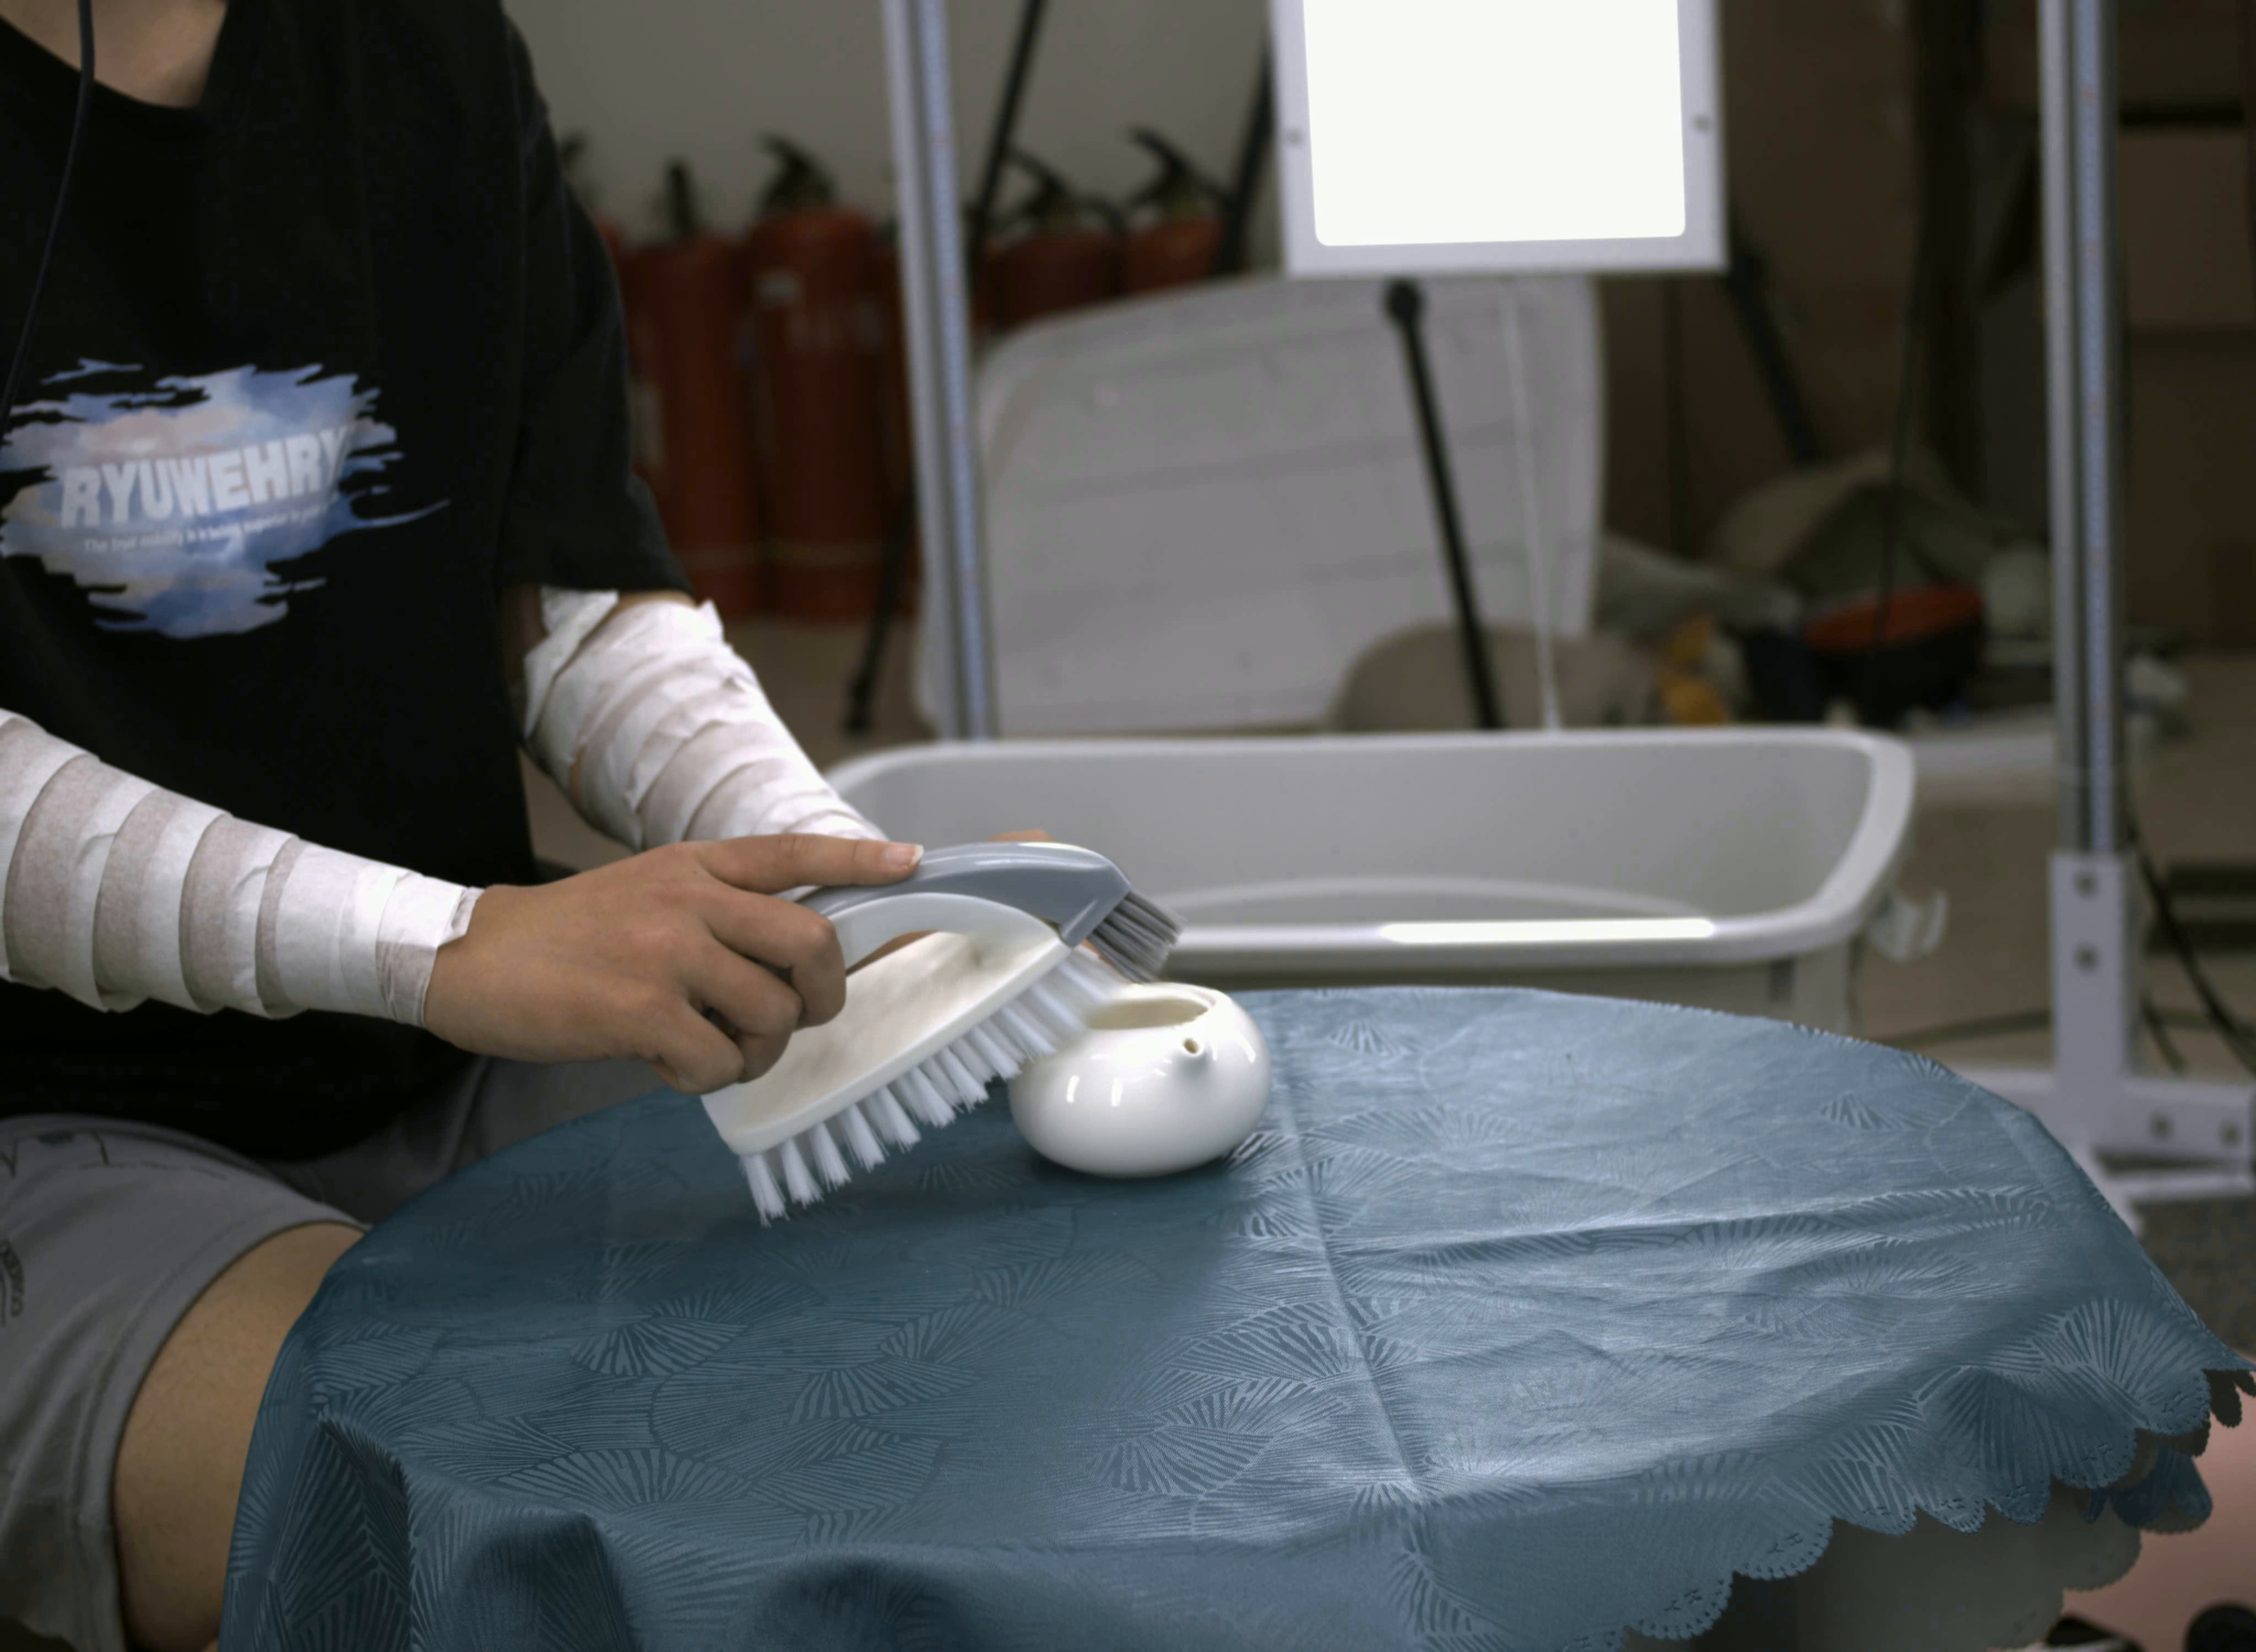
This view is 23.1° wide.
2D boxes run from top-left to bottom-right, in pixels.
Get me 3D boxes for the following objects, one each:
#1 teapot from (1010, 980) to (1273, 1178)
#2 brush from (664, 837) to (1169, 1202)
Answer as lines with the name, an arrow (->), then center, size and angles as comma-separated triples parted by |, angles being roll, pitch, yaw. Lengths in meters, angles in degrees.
teapot -> 0.000, 0.087, 1.945 | 0.091, 0.057, 0.129 | -16, 16, -24
brush -> -0.078, 0.049, 1.895 | 0.176, 0.093, 0.062 | -28, 35, 5
